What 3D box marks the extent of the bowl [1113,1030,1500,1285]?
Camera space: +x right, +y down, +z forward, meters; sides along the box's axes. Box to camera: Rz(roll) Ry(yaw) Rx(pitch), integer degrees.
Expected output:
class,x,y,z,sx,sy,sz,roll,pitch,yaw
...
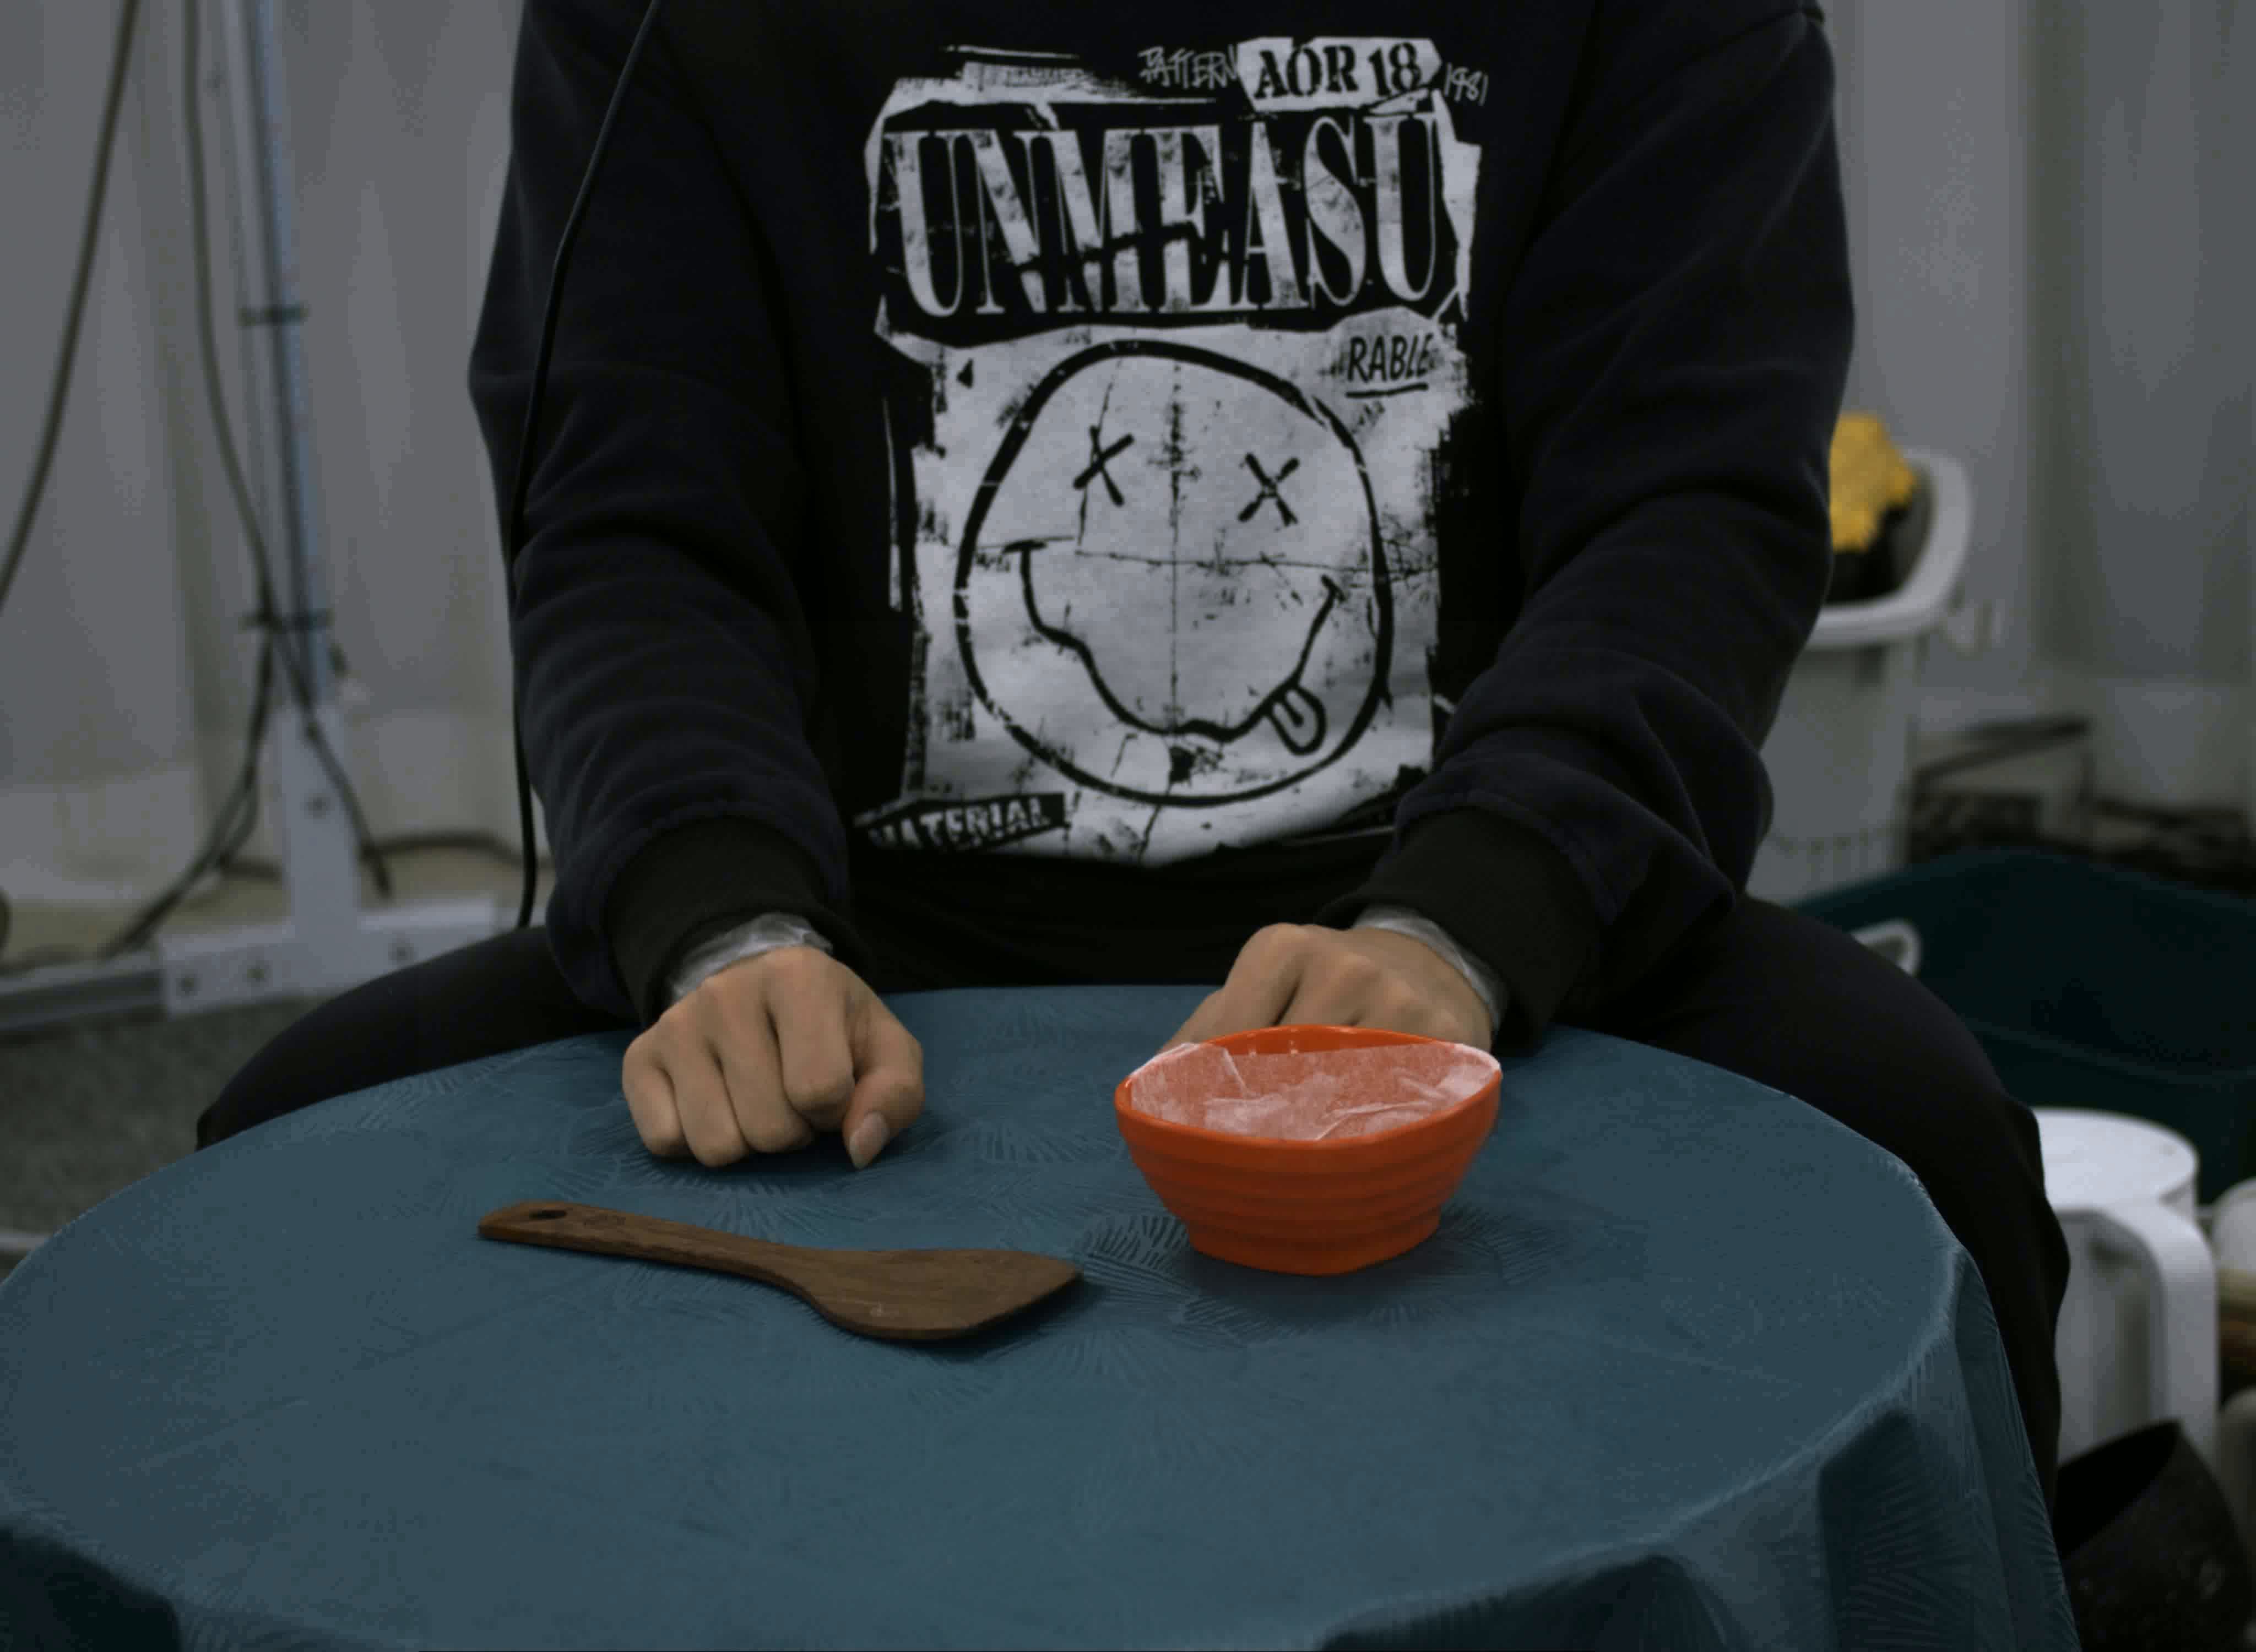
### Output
class,x,y,z,sx,sy,sz,roll,pitch,yaw
bowl,0.055,0.103,1.659,0.118,0.051,0.120,-4,15,1

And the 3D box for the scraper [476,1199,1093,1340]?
class,x,y,z,sx,sy,sz,roll,pitch,yaw
scraper,-0.111,0.132,1.657,0.212,0.011,0.076,6,16,33
